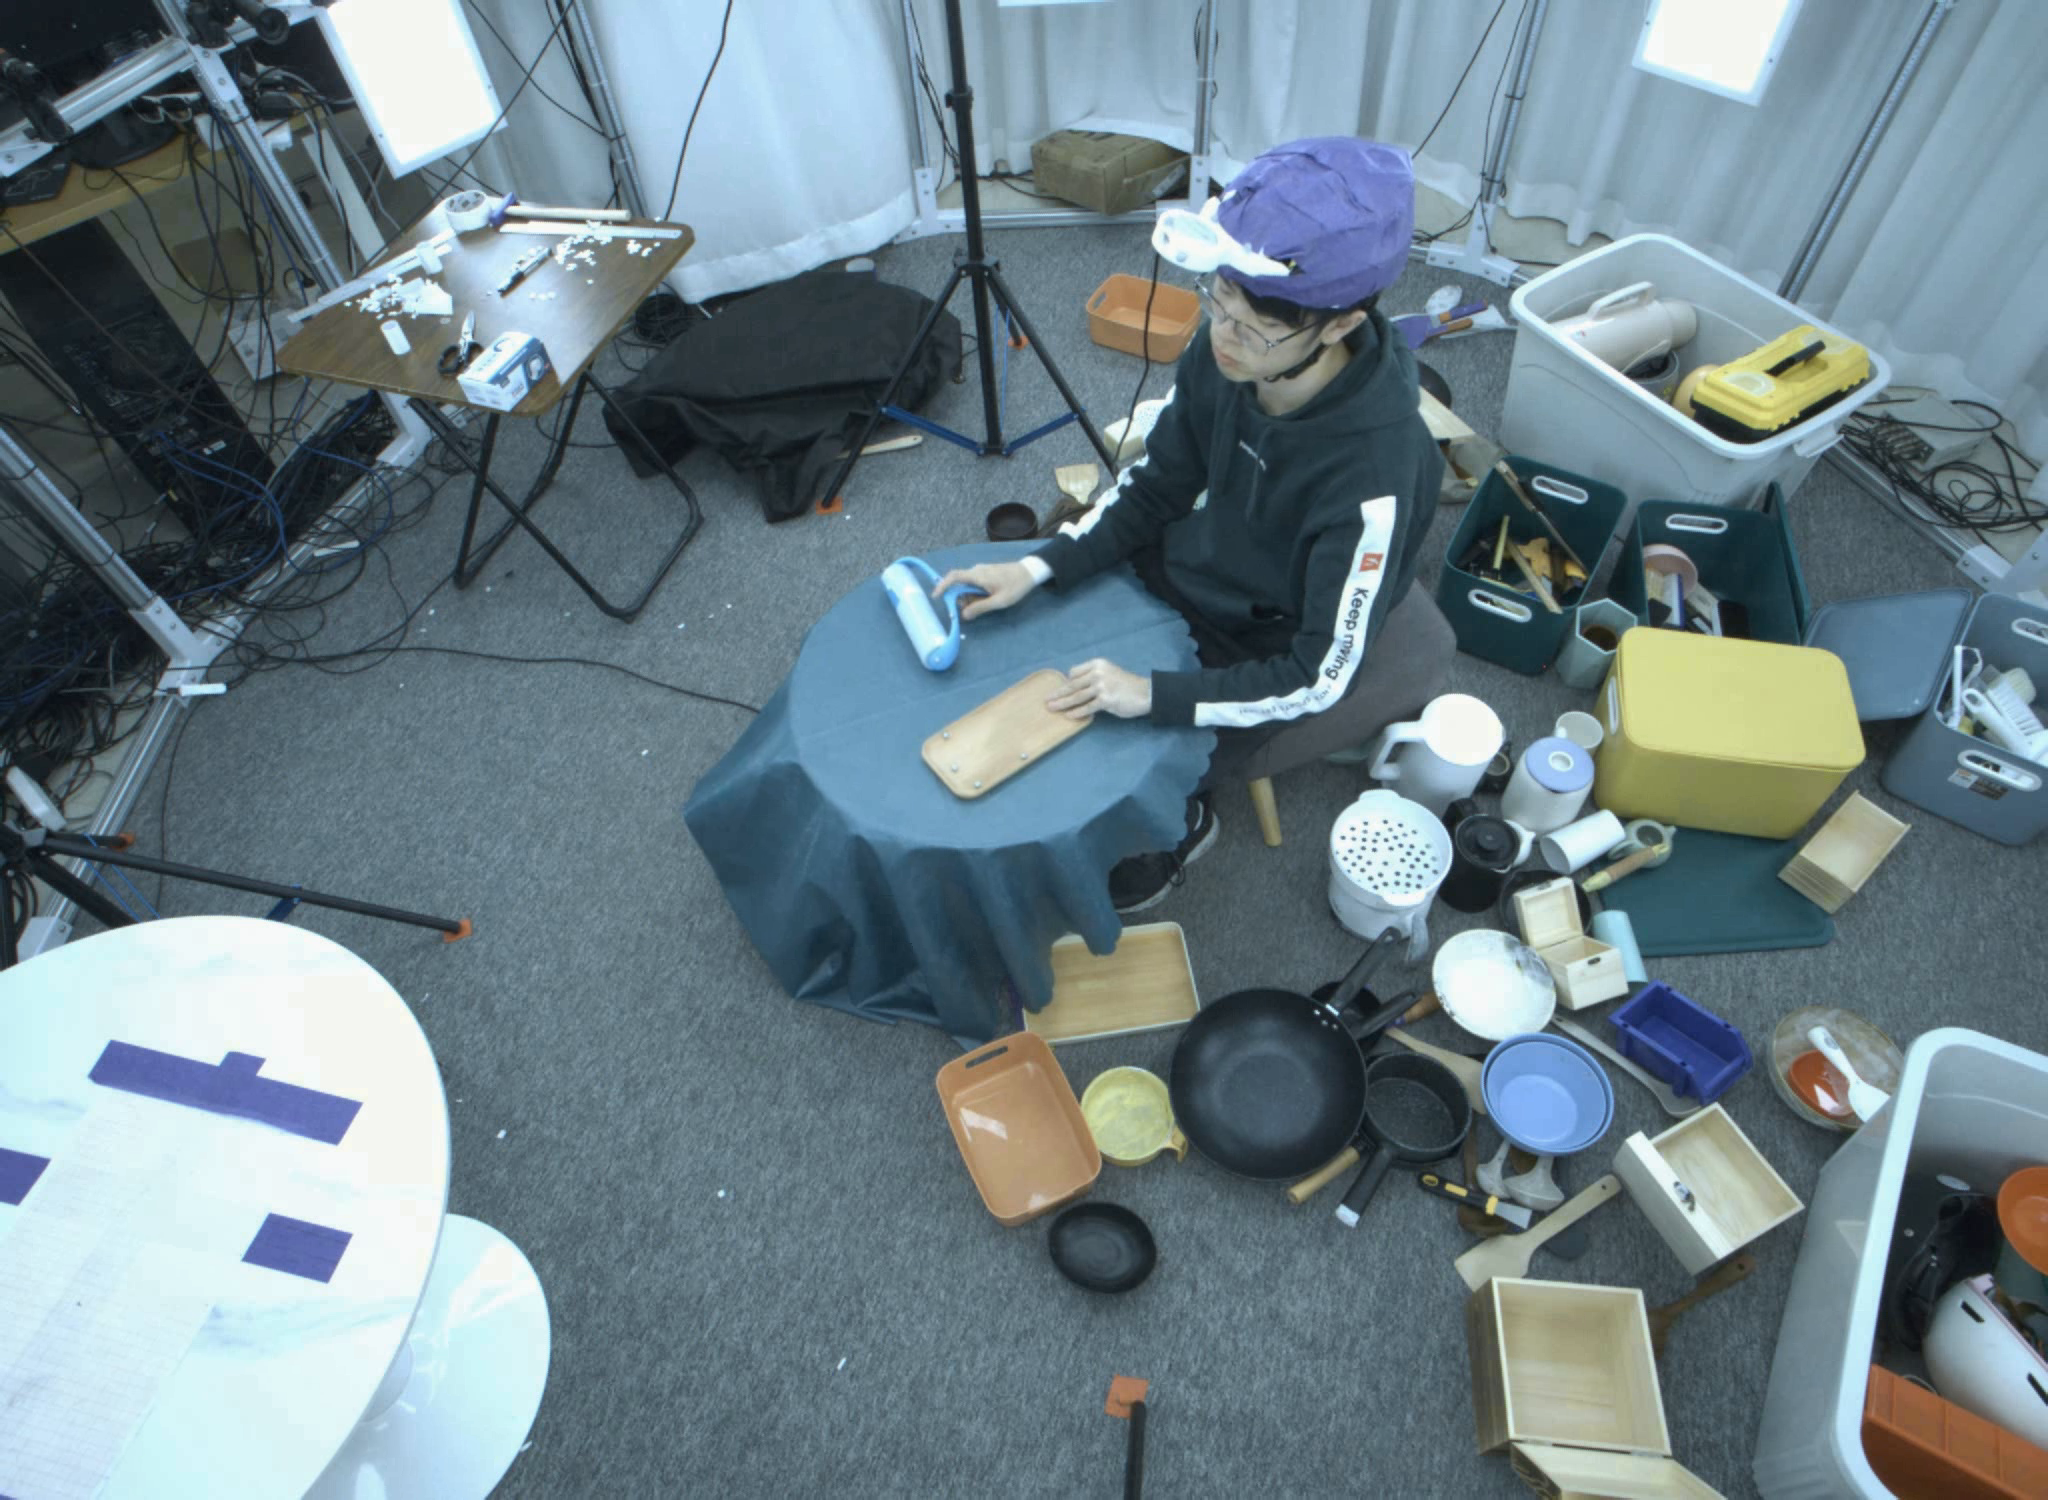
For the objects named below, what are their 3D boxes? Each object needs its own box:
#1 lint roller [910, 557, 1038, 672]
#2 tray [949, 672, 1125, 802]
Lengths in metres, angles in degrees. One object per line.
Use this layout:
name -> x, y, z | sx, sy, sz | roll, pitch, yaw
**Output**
lint roller -> -0.066, -0.231, 1.914 | 0.181, 0.069, 0.224 | -23, 55, -12
tray -> 0.020, -0.020, 1.786 | 0.253, 0.023, 0.128 | -30, 61, -18
